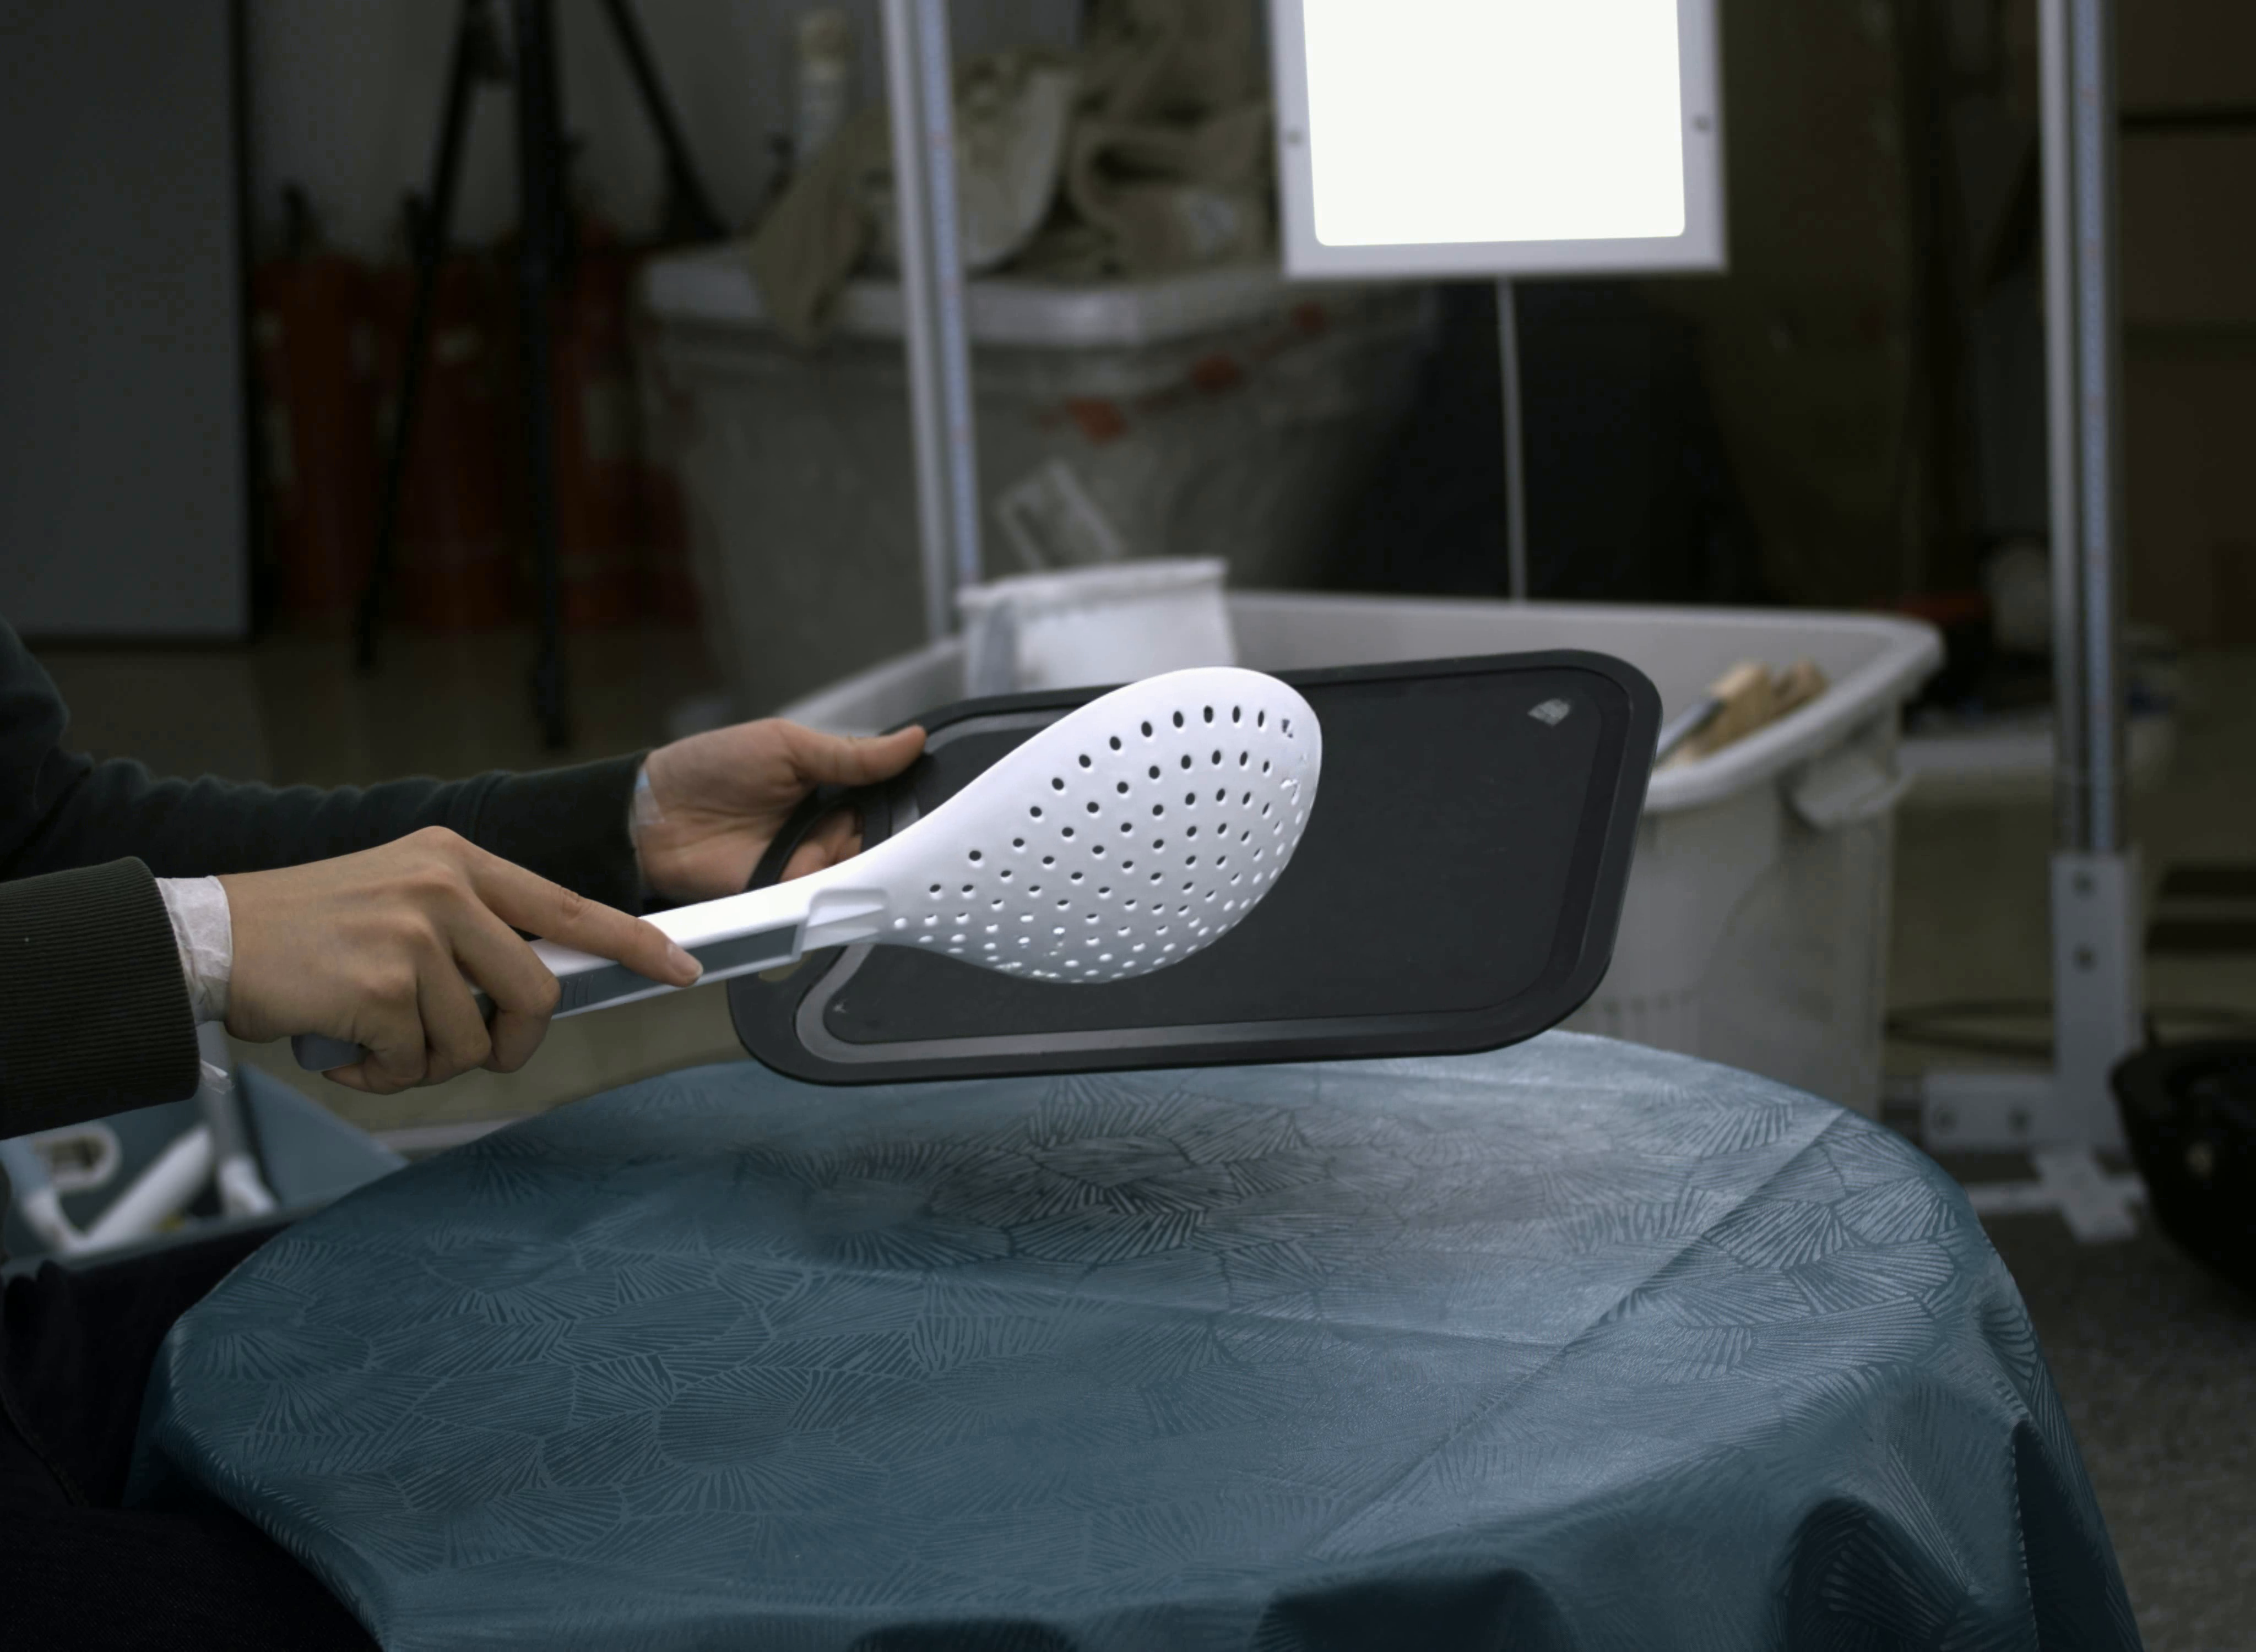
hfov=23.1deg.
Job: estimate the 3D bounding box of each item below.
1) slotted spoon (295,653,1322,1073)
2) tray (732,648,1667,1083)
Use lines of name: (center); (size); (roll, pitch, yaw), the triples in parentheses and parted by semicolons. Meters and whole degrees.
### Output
slotted spoon: (-0.091, 0.024, 1.708); (0.343, 0.137, 0.046); (-10, 48, -19)
tray: (0.019, 0.012, 1.889); (0.330, 0.010, 0.209); (-4, 39, 21)
